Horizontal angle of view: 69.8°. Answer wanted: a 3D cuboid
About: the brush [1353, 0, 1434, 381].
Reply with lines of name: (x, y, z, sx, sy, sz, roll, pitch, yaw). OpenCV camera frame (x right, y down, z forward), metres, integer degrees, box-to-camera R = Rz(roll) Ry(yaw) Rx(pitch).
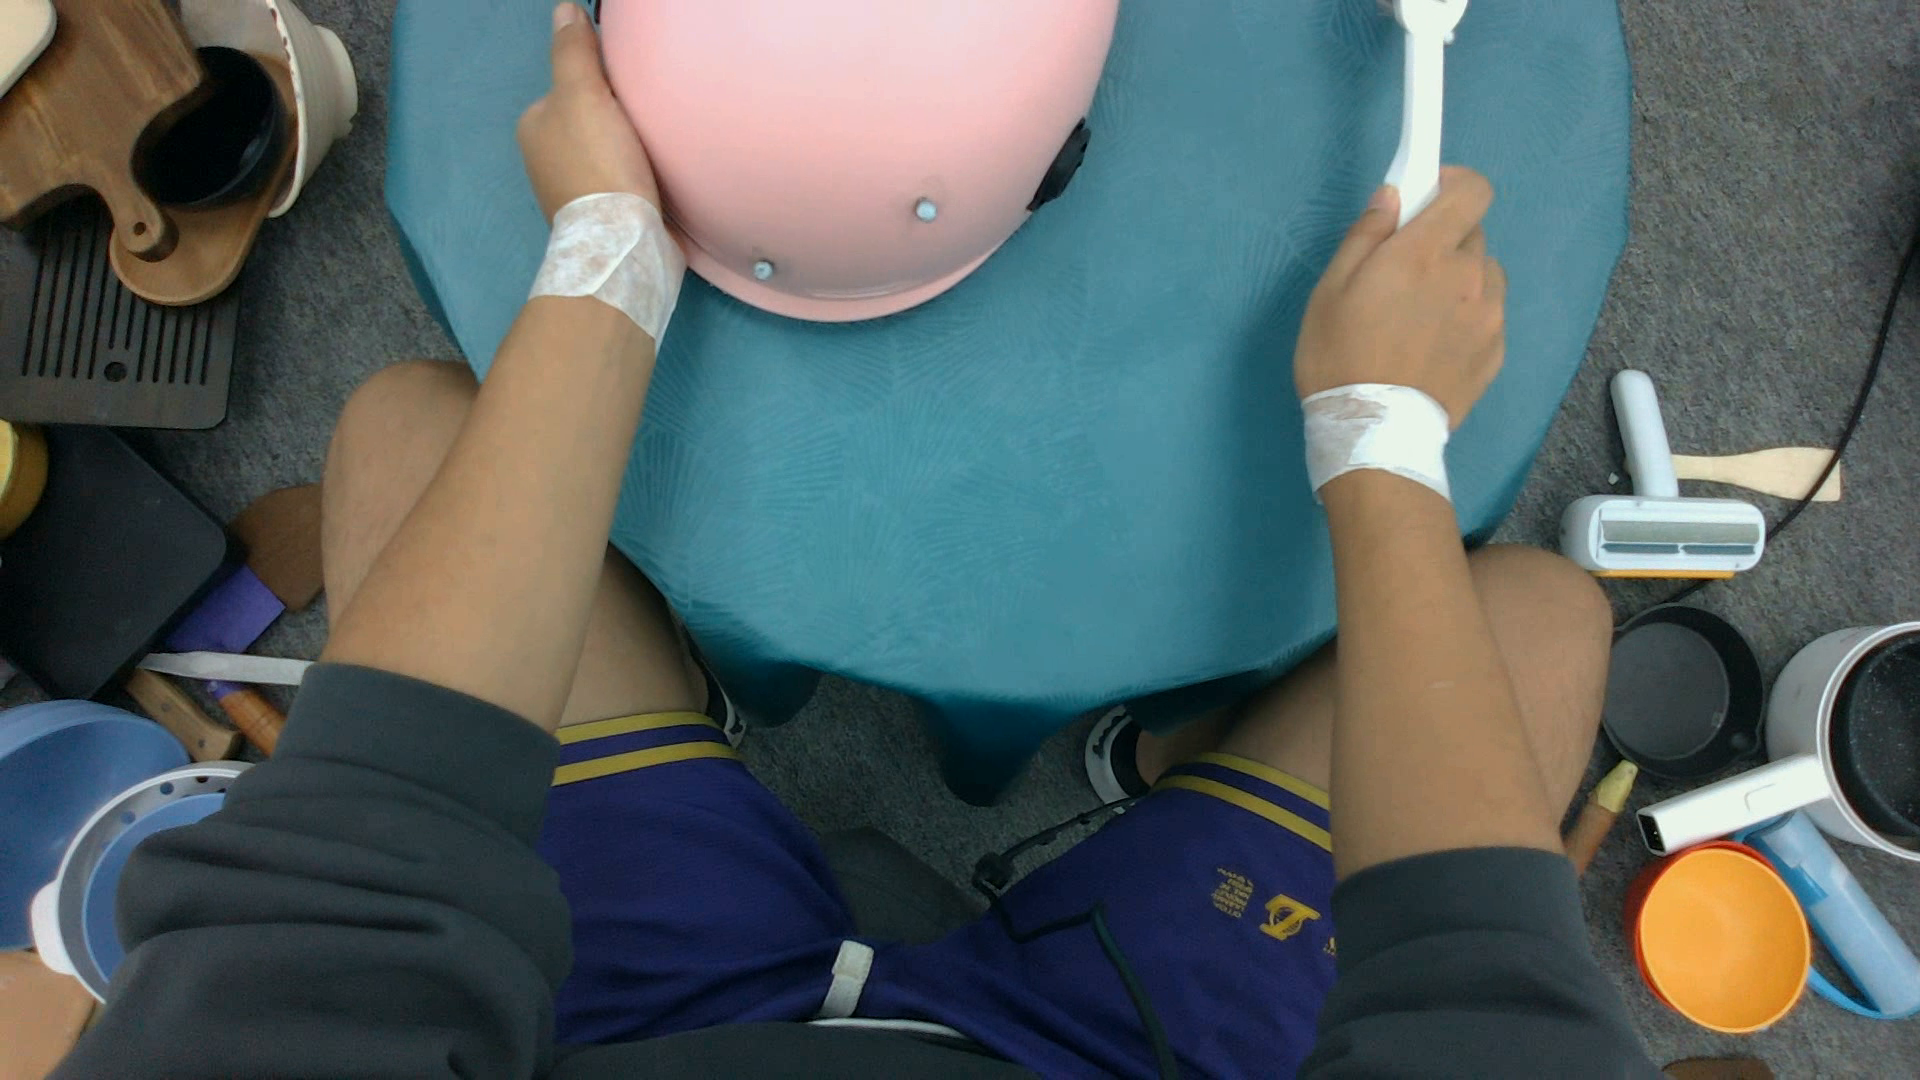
brush: (0.199, -0.196, 0.650, 0.034, 0.050, 0.243, 4, 93, -14)

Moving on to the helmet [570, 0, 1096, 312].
helmet: (-0.047, -0.235, 0.576, 0.234, 0.159, 0.266, 20, 88, -10)
